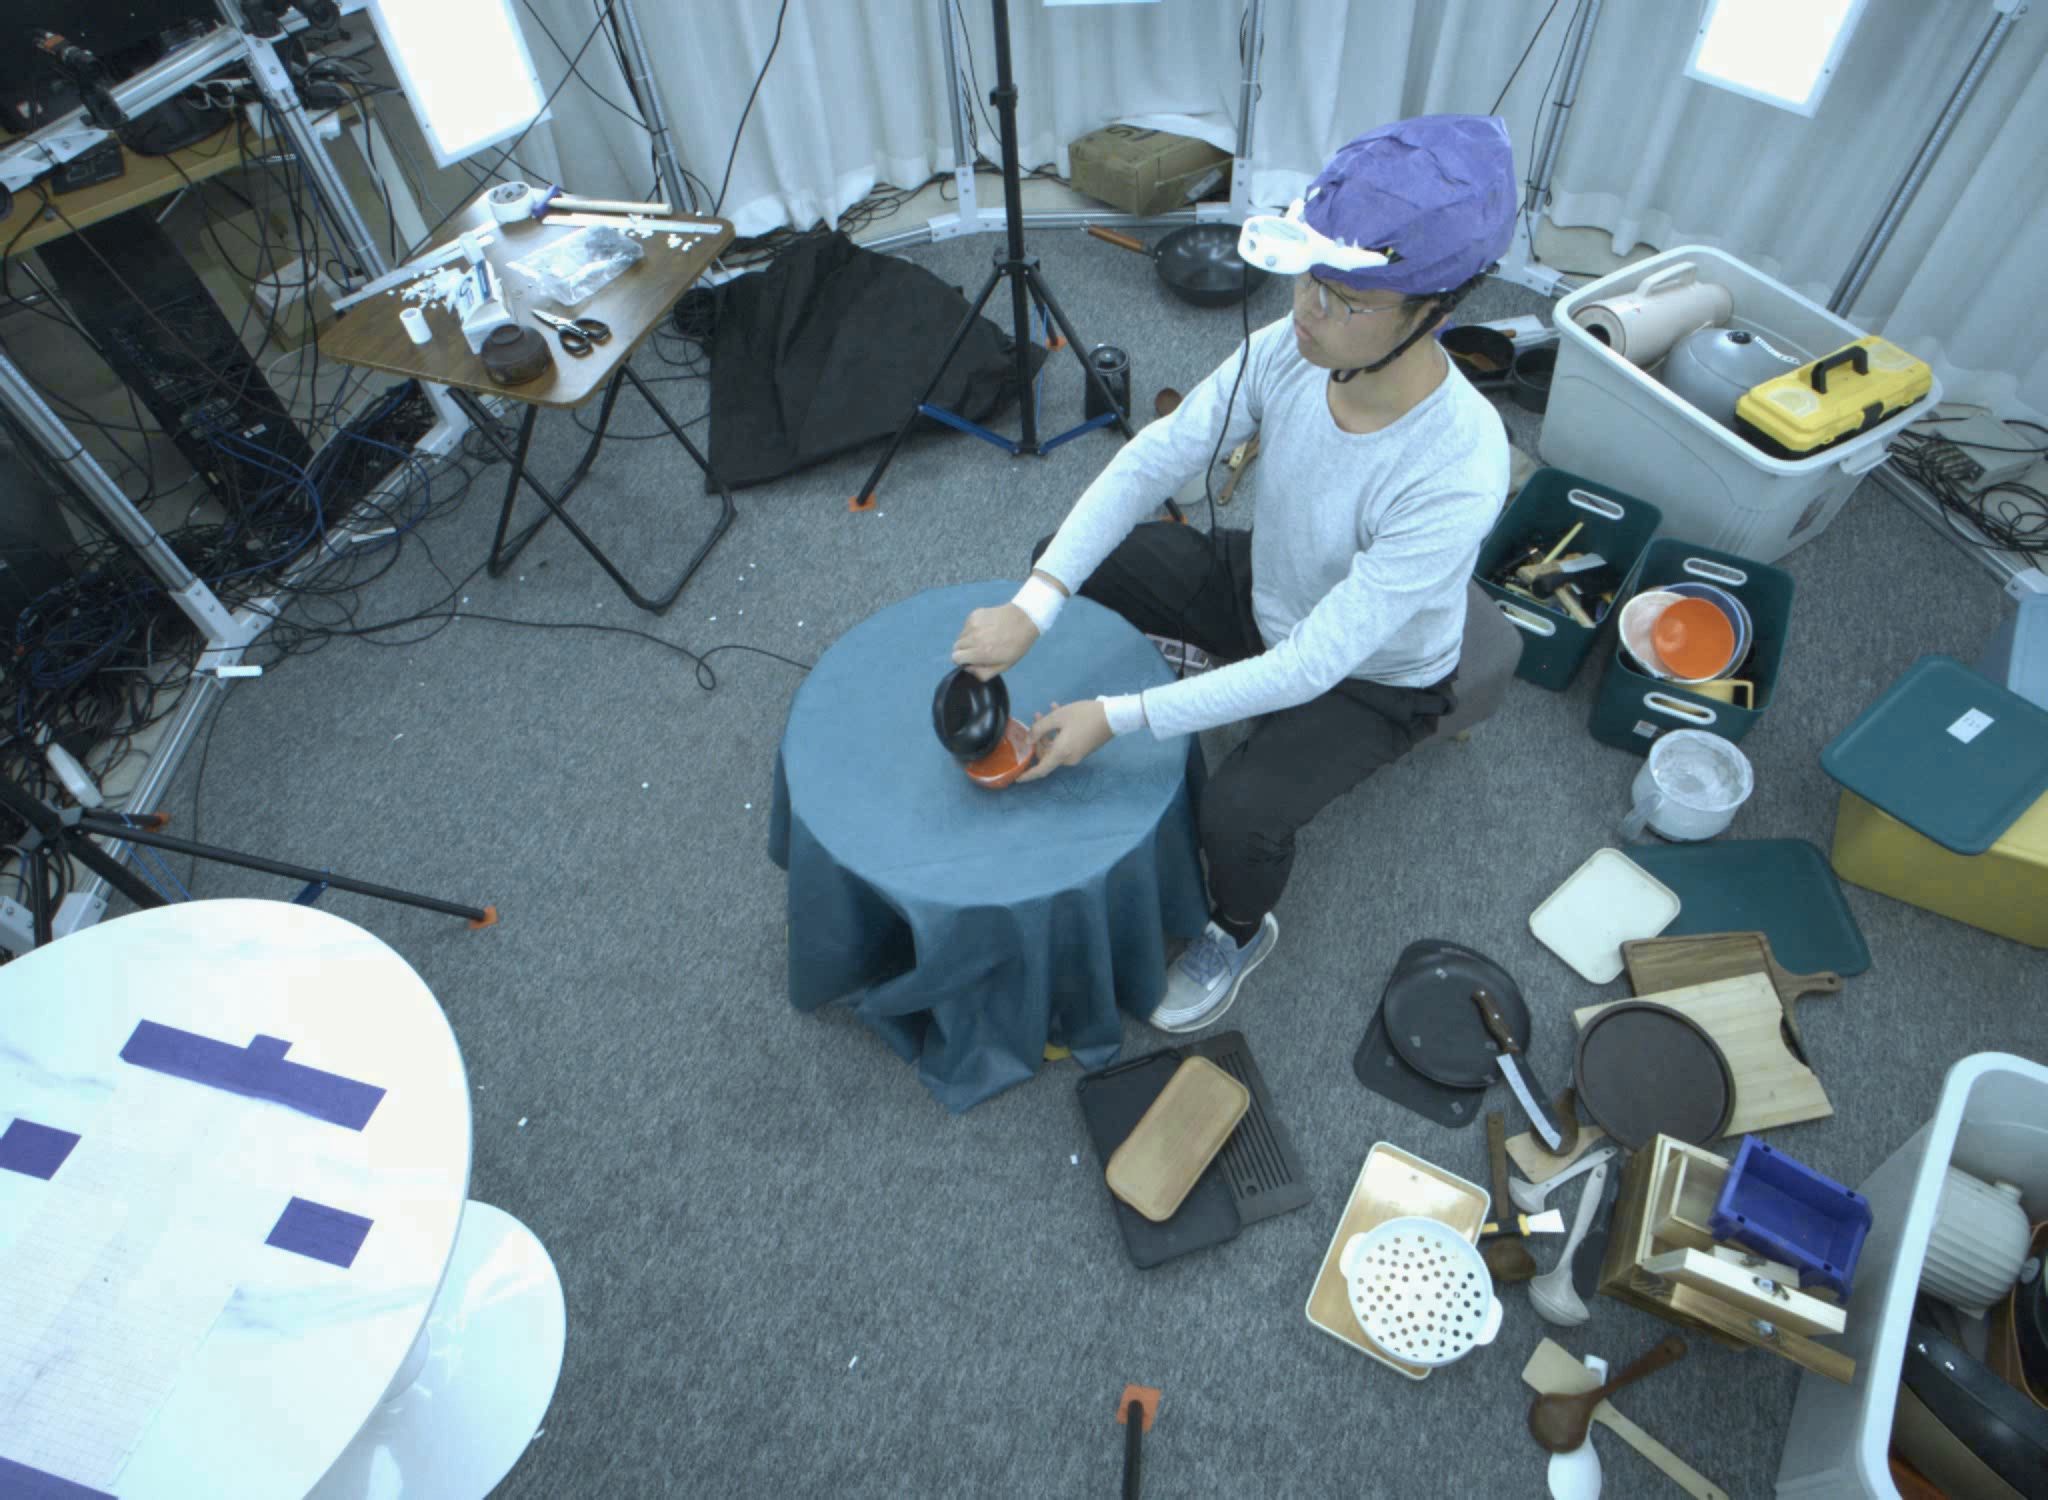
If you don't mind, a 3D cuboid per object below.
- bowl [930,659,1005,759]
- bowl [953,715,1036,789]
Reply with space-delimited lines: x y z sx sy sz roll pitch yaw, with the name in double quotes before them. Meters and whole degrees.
"bowl" -0.088 -0.058 1.717 0.049 0.143 0.140 4 51 35
"bowl" -0.038 0.010 1.751 0.118 0.052 0.117 -5 51 7
